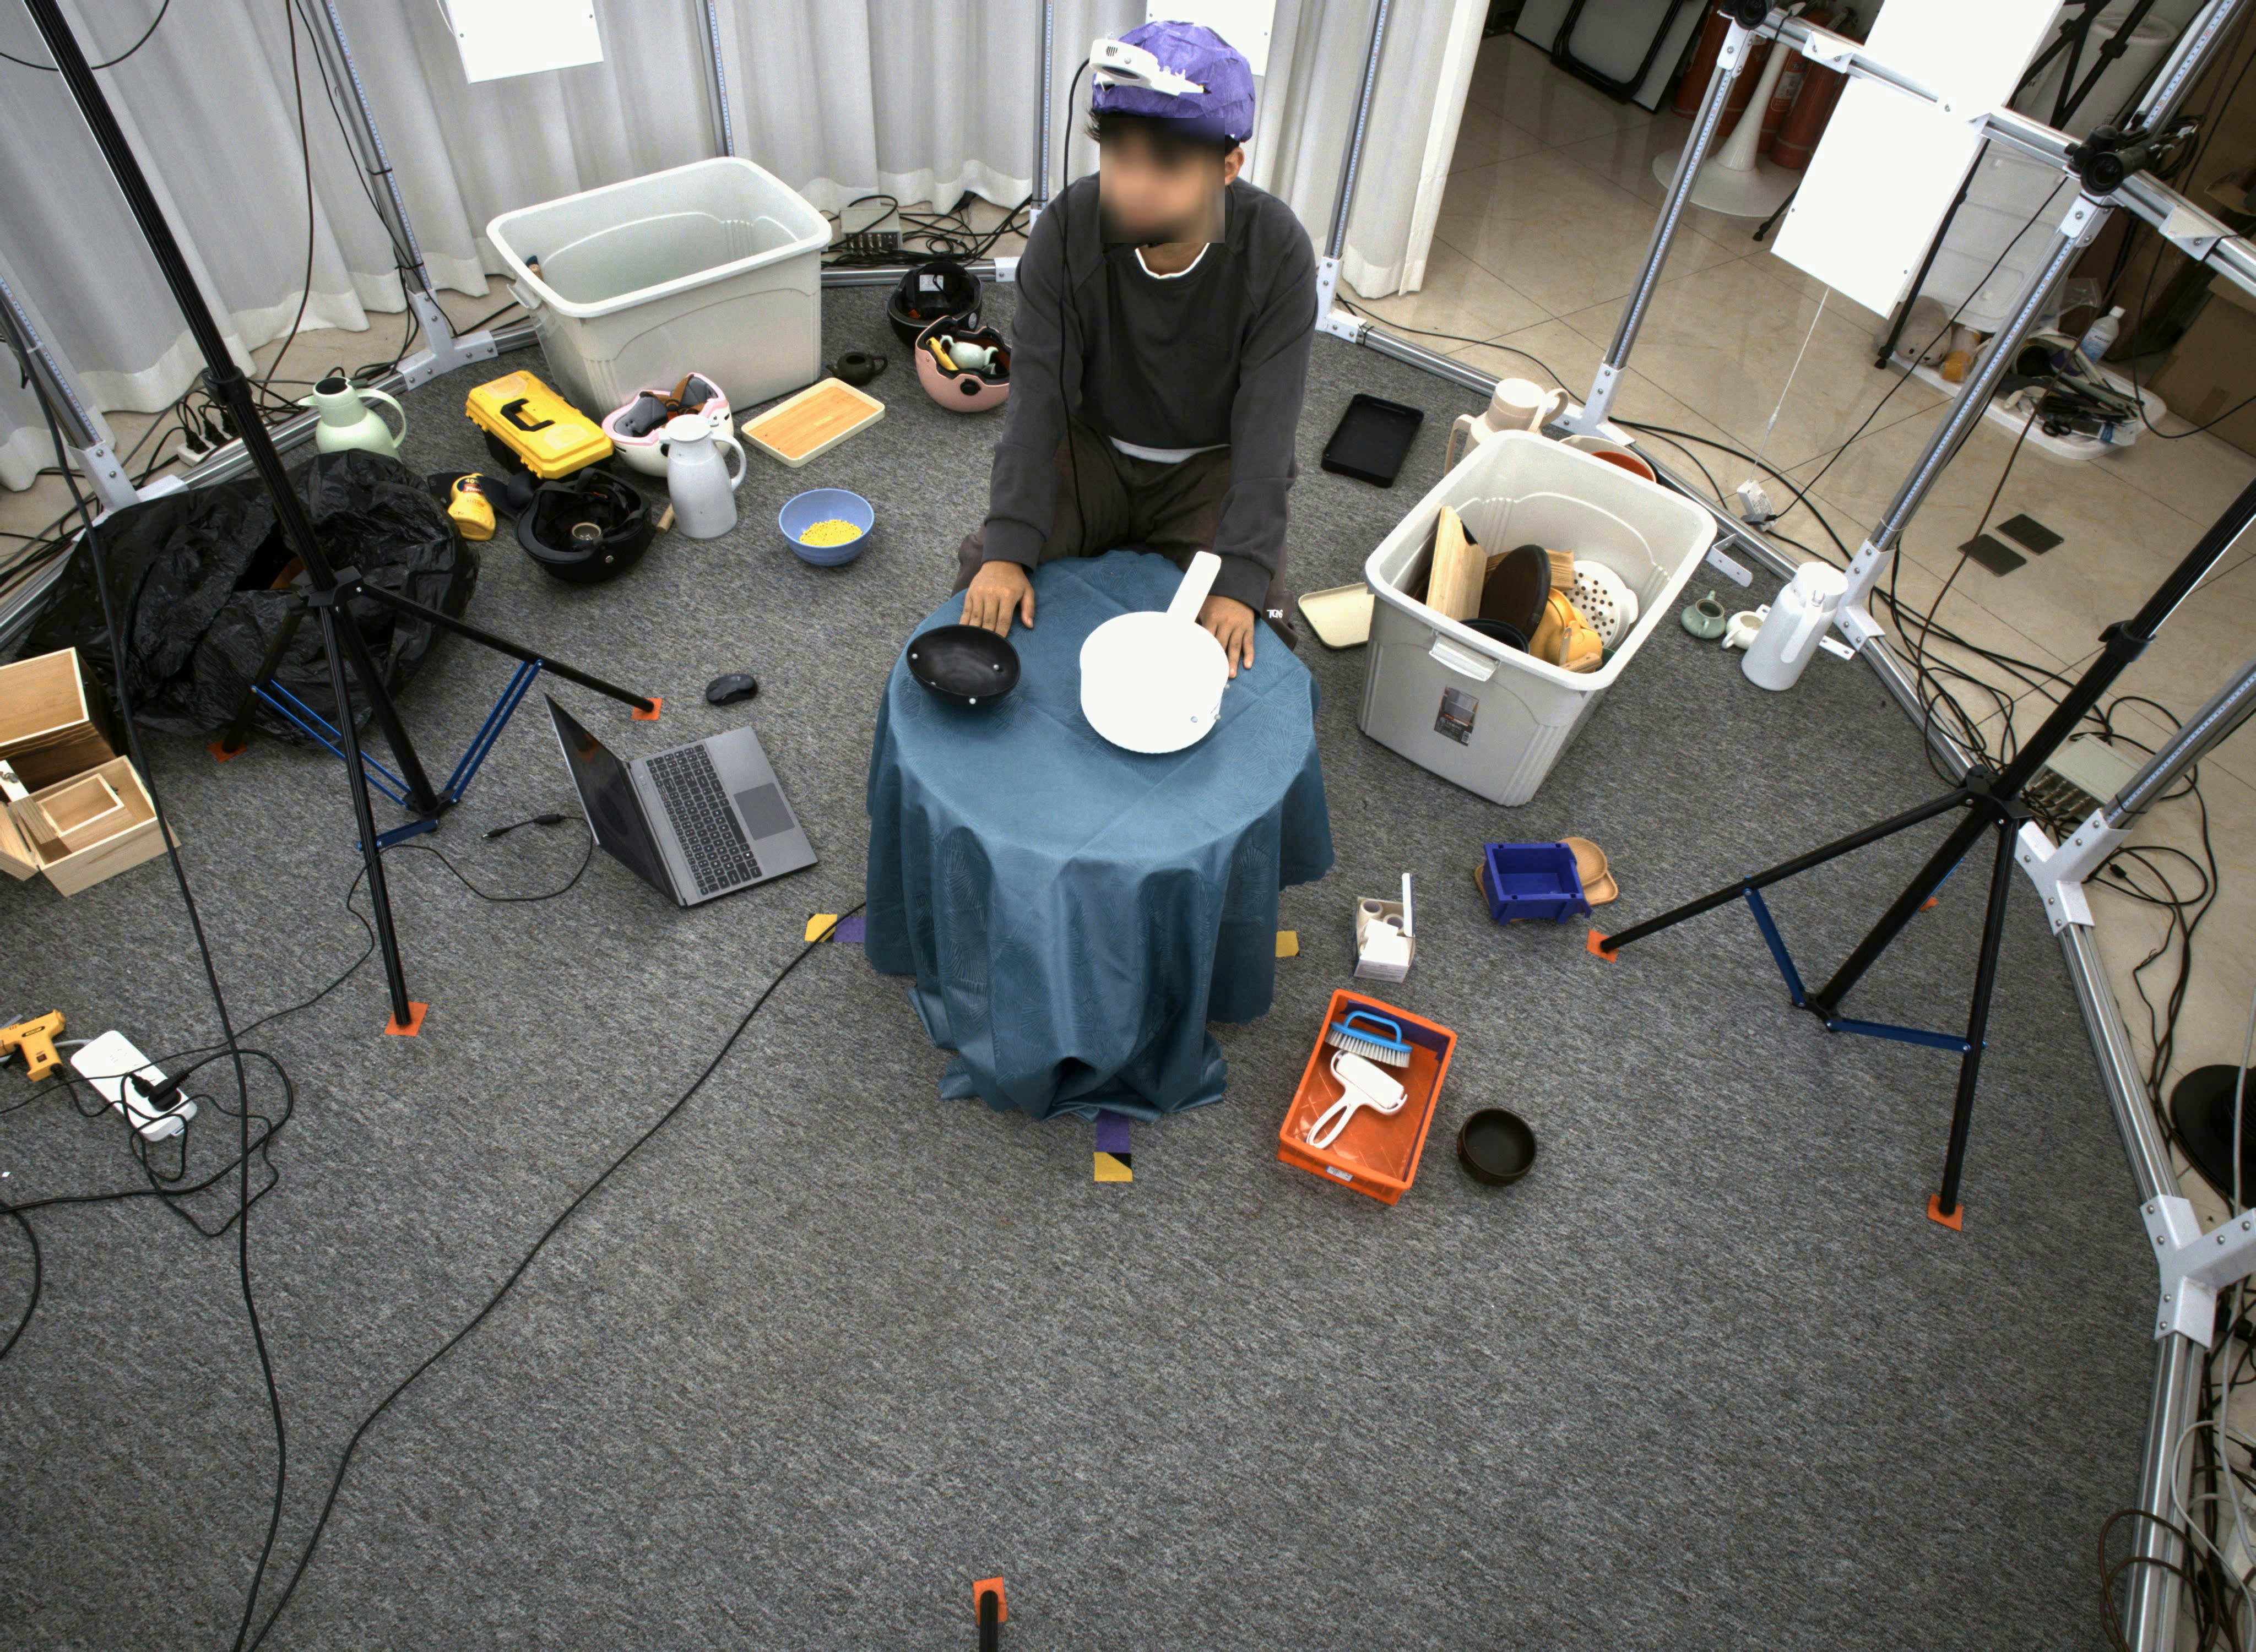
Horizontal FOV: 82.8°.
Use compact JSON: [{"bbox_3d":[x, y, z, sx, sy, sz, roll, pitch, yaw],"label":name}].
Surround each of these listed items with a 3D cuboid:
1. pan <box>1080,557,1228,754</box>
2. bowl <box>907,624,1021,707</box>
[{"bbox_3d":[0.058,-0.244,1.824,0.202,0.099,0.362,15,48,11],"label":"pan"},{"bbox_3d":[-0.229,-0.212,1.790,0.172,0.065,0.139,26,52,19],"label":"bowl"}]
